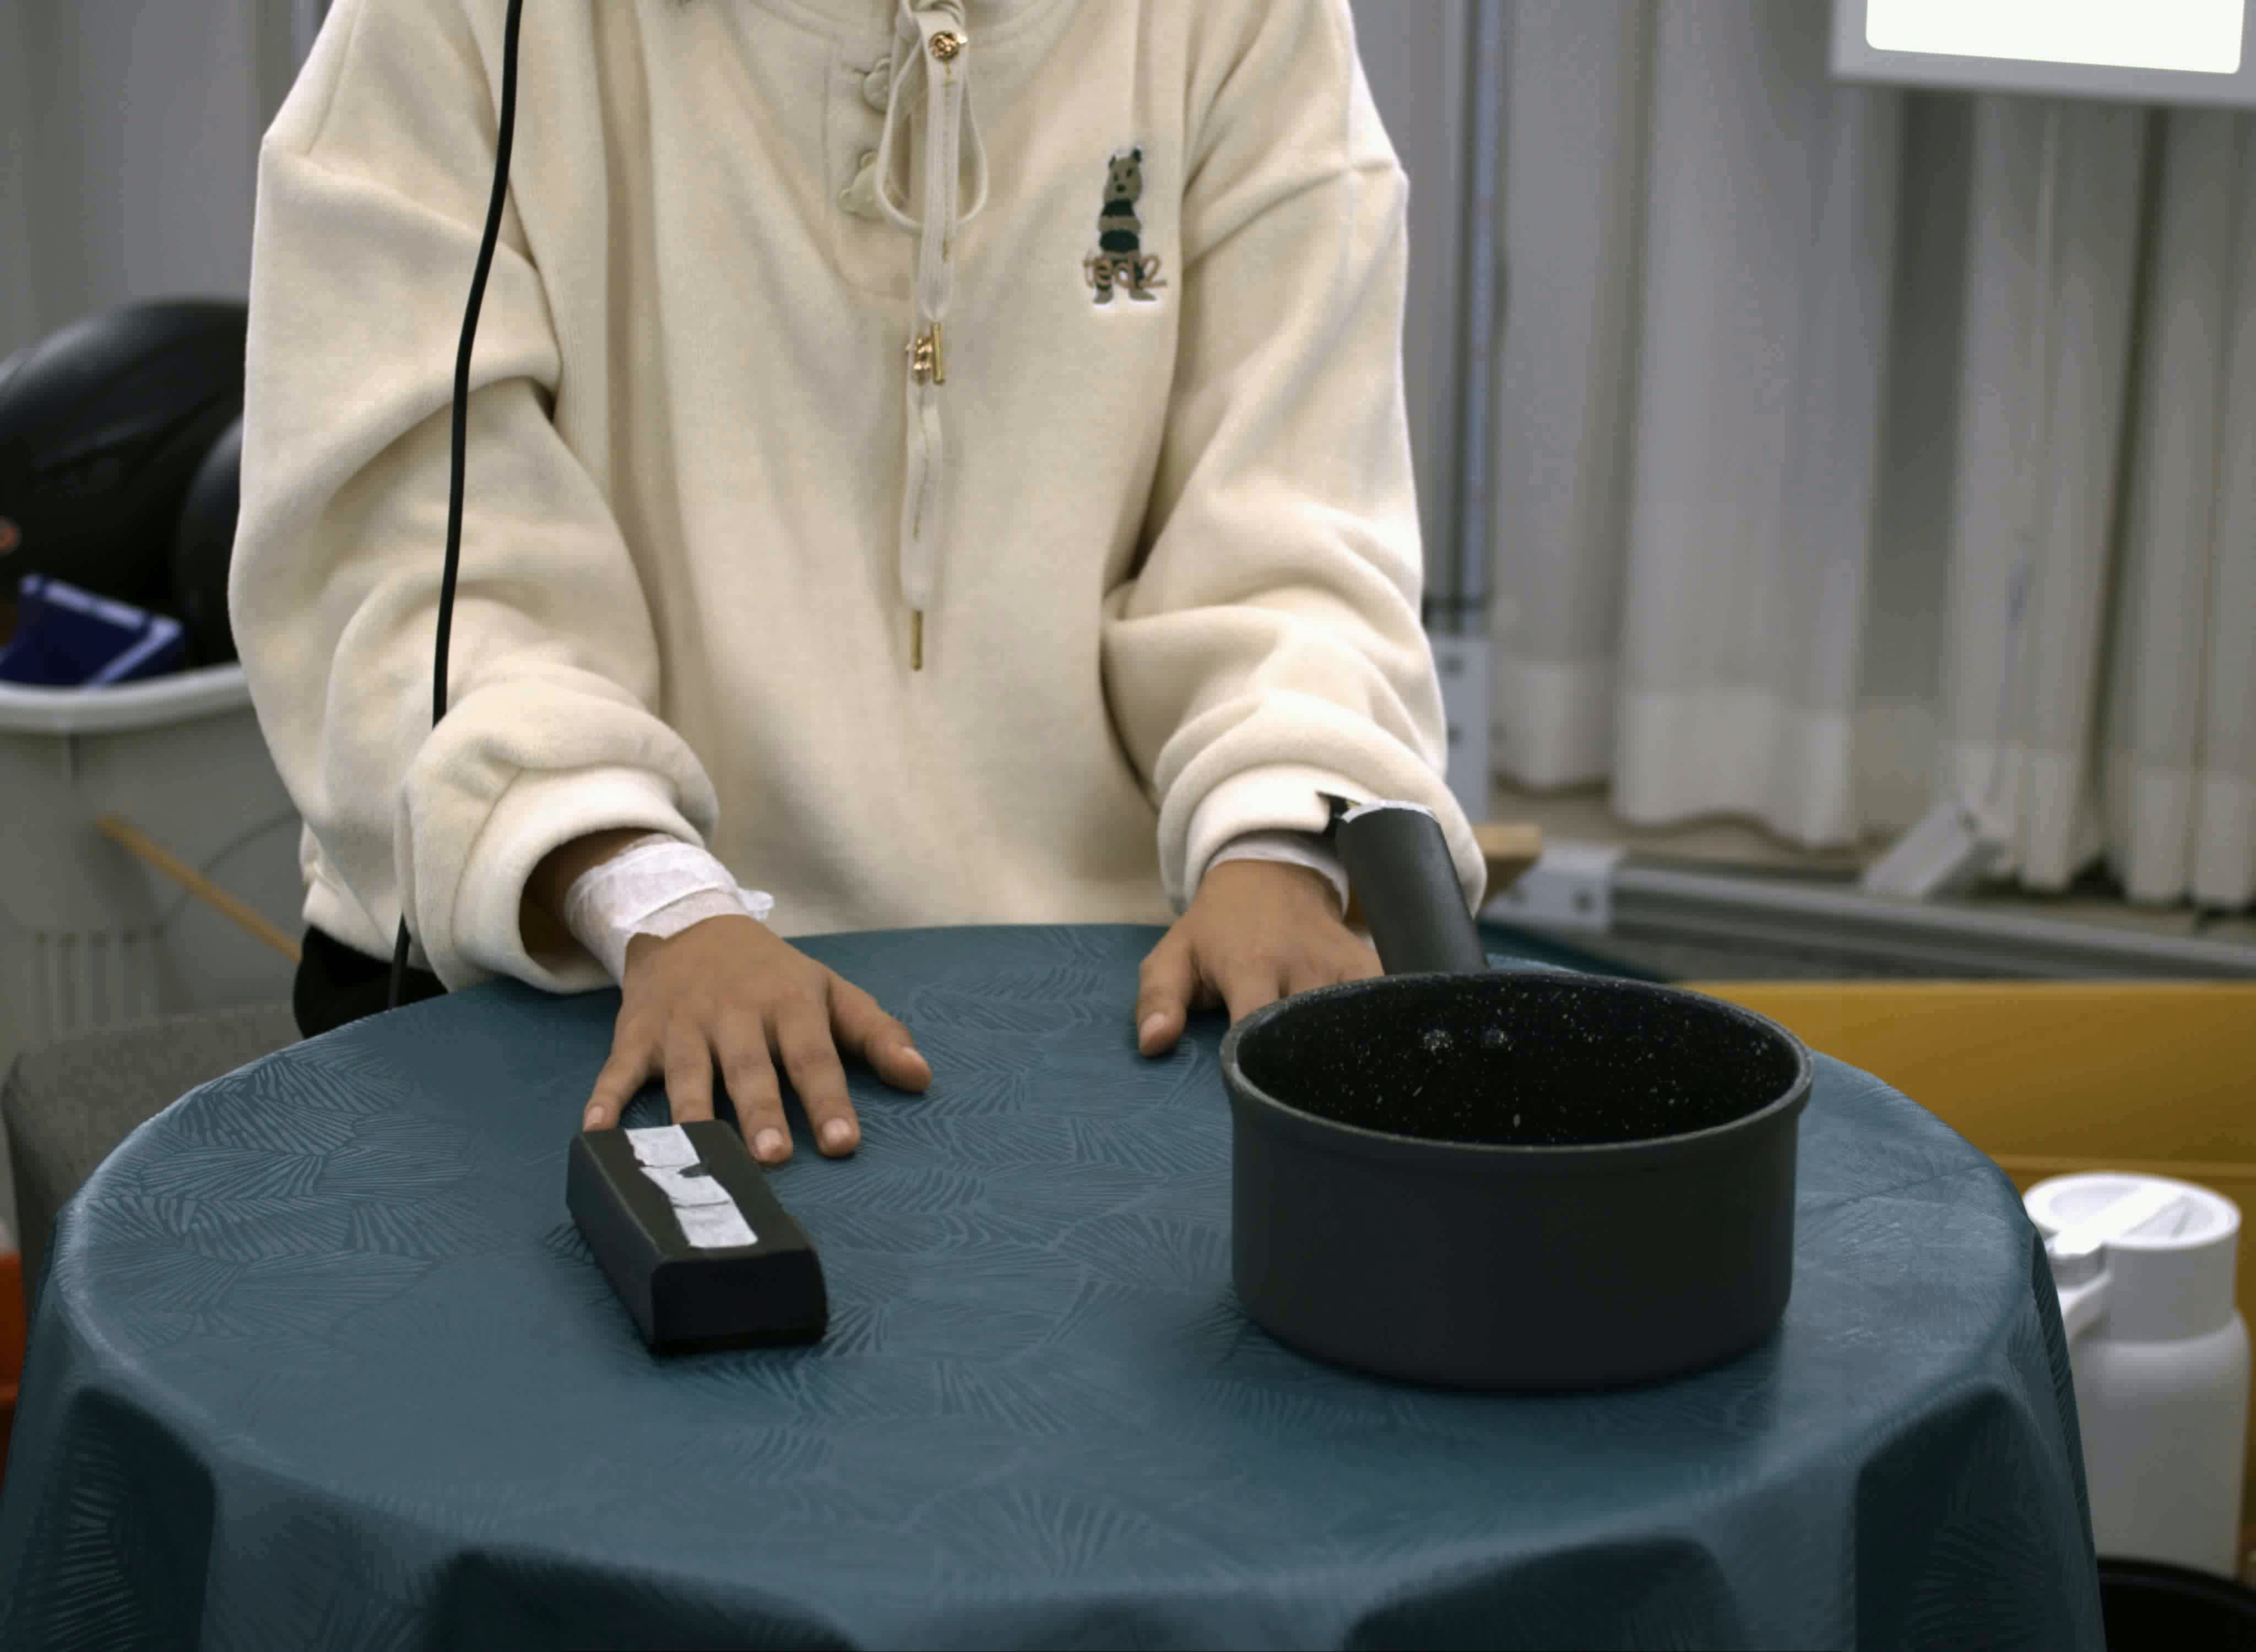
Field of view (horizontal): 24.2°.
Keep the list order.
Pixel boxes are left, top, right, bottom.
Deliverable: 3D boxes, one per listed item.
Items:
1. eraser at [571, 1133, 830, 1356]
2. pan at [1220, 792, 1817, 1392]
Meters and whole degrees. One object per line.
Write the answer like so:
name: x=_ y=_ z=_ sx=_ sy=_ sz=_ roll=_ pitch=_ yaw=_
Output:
eraser: x=-0.126 y=0.121 z=1.537 sx=0.053 sy=0.031 sz=0.124 roll=-3 pitch=14 yaw=-16
pan: x=0.106 y=0.076 z=1.596 sx=0.171 sy=0.087 sz=0.326 roll=0 pitch=17 yaw=-4
